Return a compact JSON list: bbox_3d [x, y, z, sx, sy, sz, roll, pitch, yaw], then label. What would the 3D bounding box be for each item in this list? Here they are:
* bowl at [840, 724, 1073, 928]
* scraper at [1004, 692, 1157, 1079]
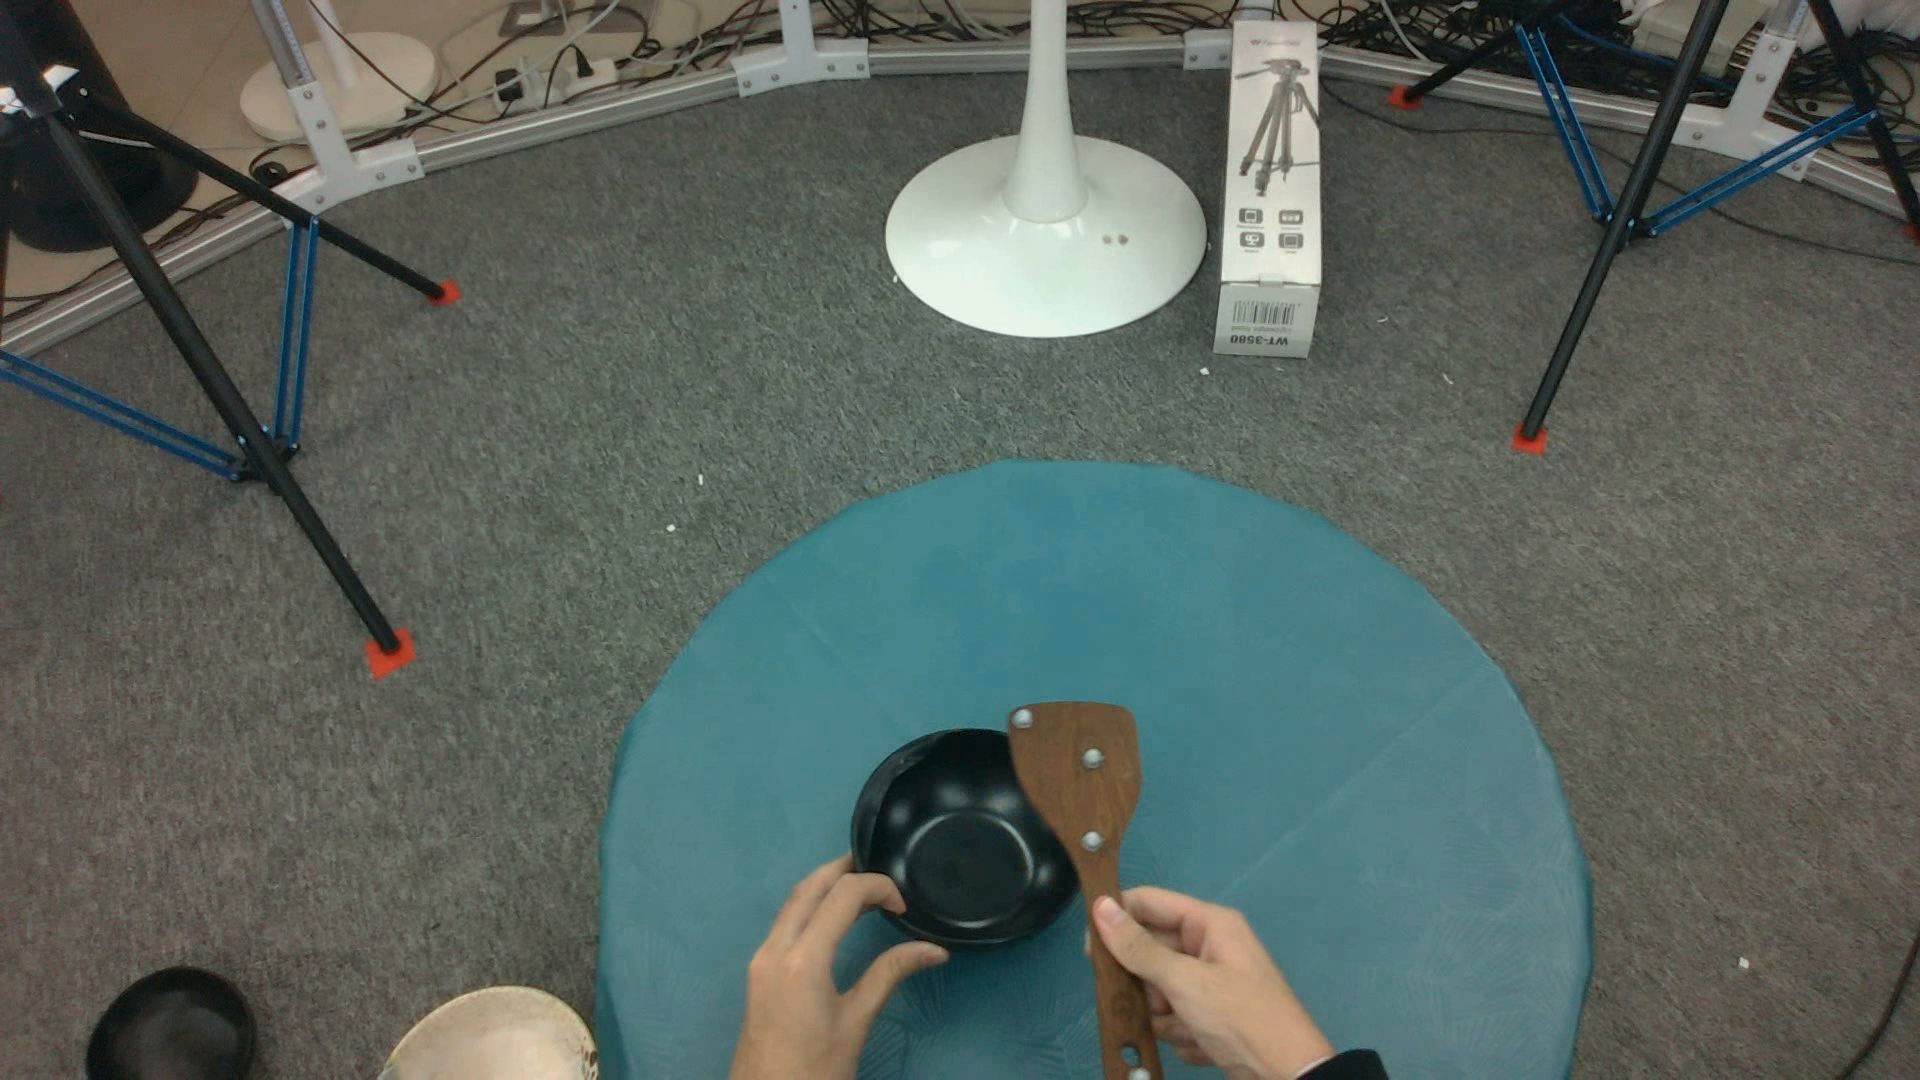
[{"bbox_3d":[-0.002,0.171,0.789,0.140,0.049,0.140,7,36,-5],"label":"bowl"},{"bbox_3d":[0.068,0.170,0.694,0.076,0.011,0.212,3,52,-12],"label":"scraper"}]
